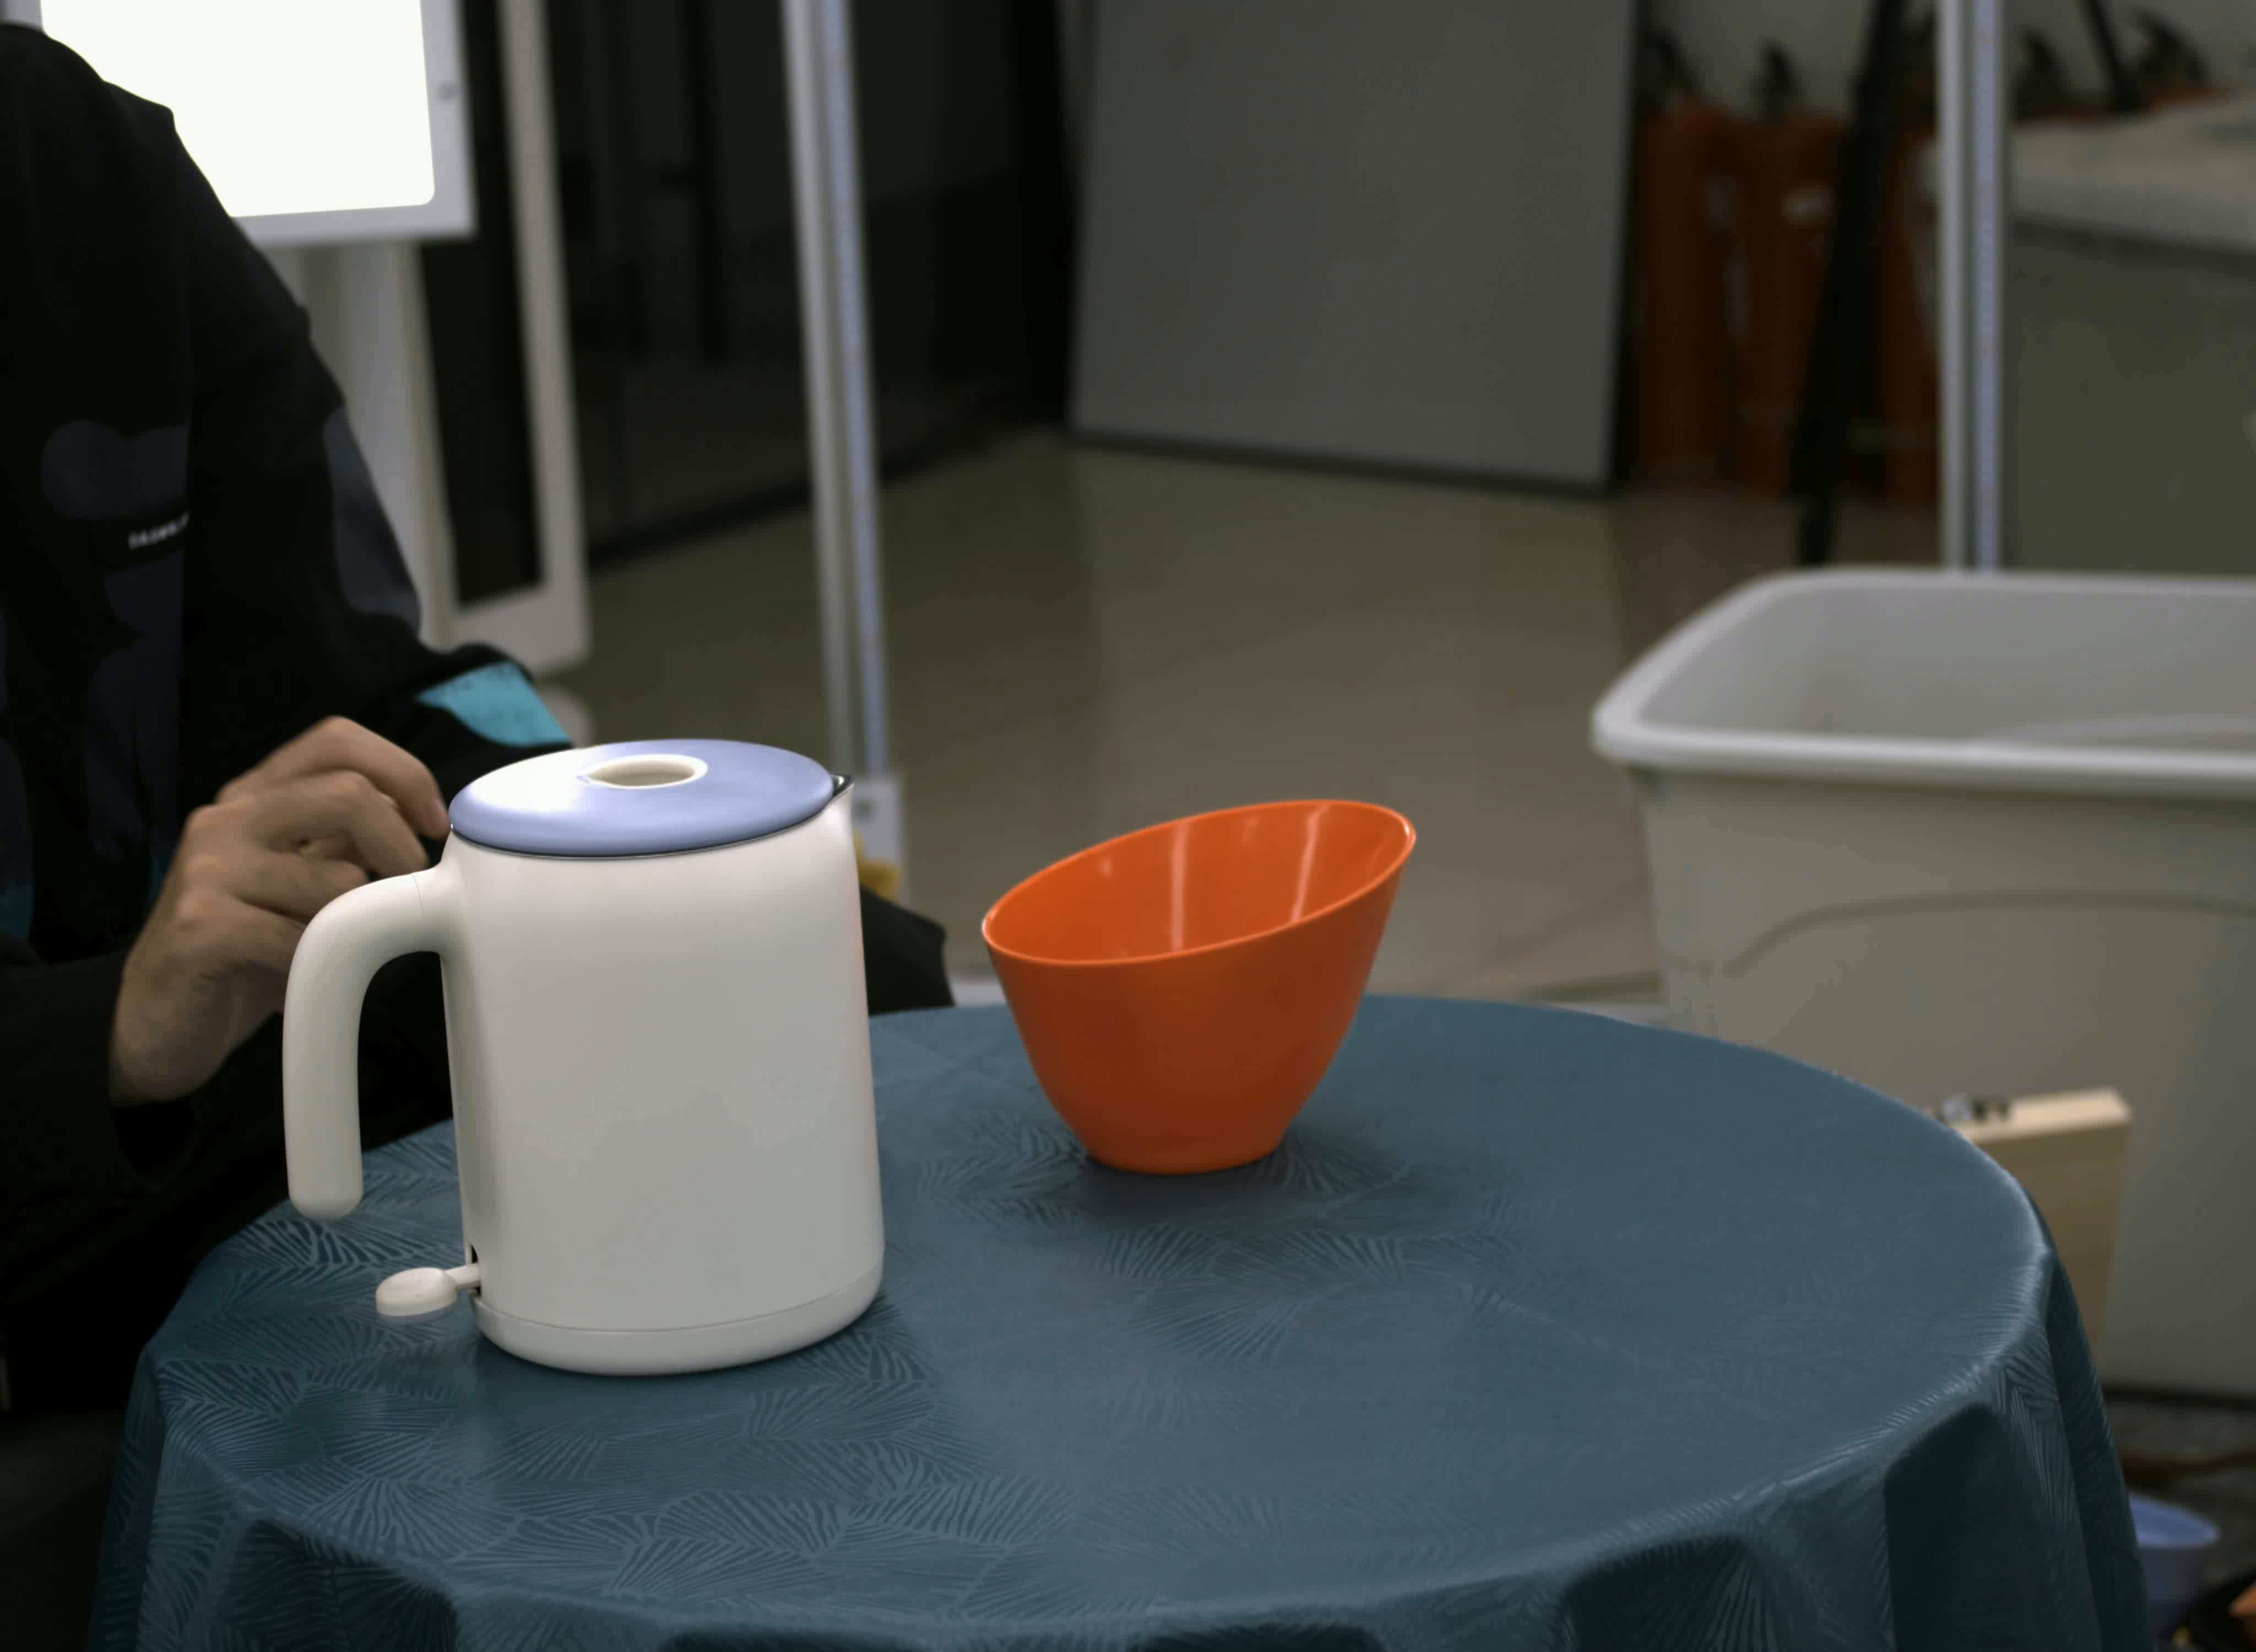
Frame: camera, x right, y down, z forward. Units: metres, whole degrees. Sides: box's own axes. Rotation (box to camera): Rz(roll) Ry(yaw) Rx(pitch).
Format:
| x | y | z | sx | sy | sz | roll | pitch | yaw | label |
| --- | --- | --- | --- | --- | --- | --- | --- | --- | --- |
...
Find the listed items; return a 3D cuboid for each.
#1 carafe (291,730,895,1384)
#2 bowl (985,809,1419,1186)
| x | y | z | sx | sy | sz | roll | pitch | yaw | label |
| --- | --- | --- | --- | --- | --- | --- | --- | --- | --- |
| -0.164 | 0.074 | 1.654 | 0.187 | 0.184 | 0.133 | -12 | 14 | -20 | carafe |
| 0.027 | 0.060 | 1.802 | 0.146 | 0.106 | 0.148 | -4 | 14 | 0 | bowl |
